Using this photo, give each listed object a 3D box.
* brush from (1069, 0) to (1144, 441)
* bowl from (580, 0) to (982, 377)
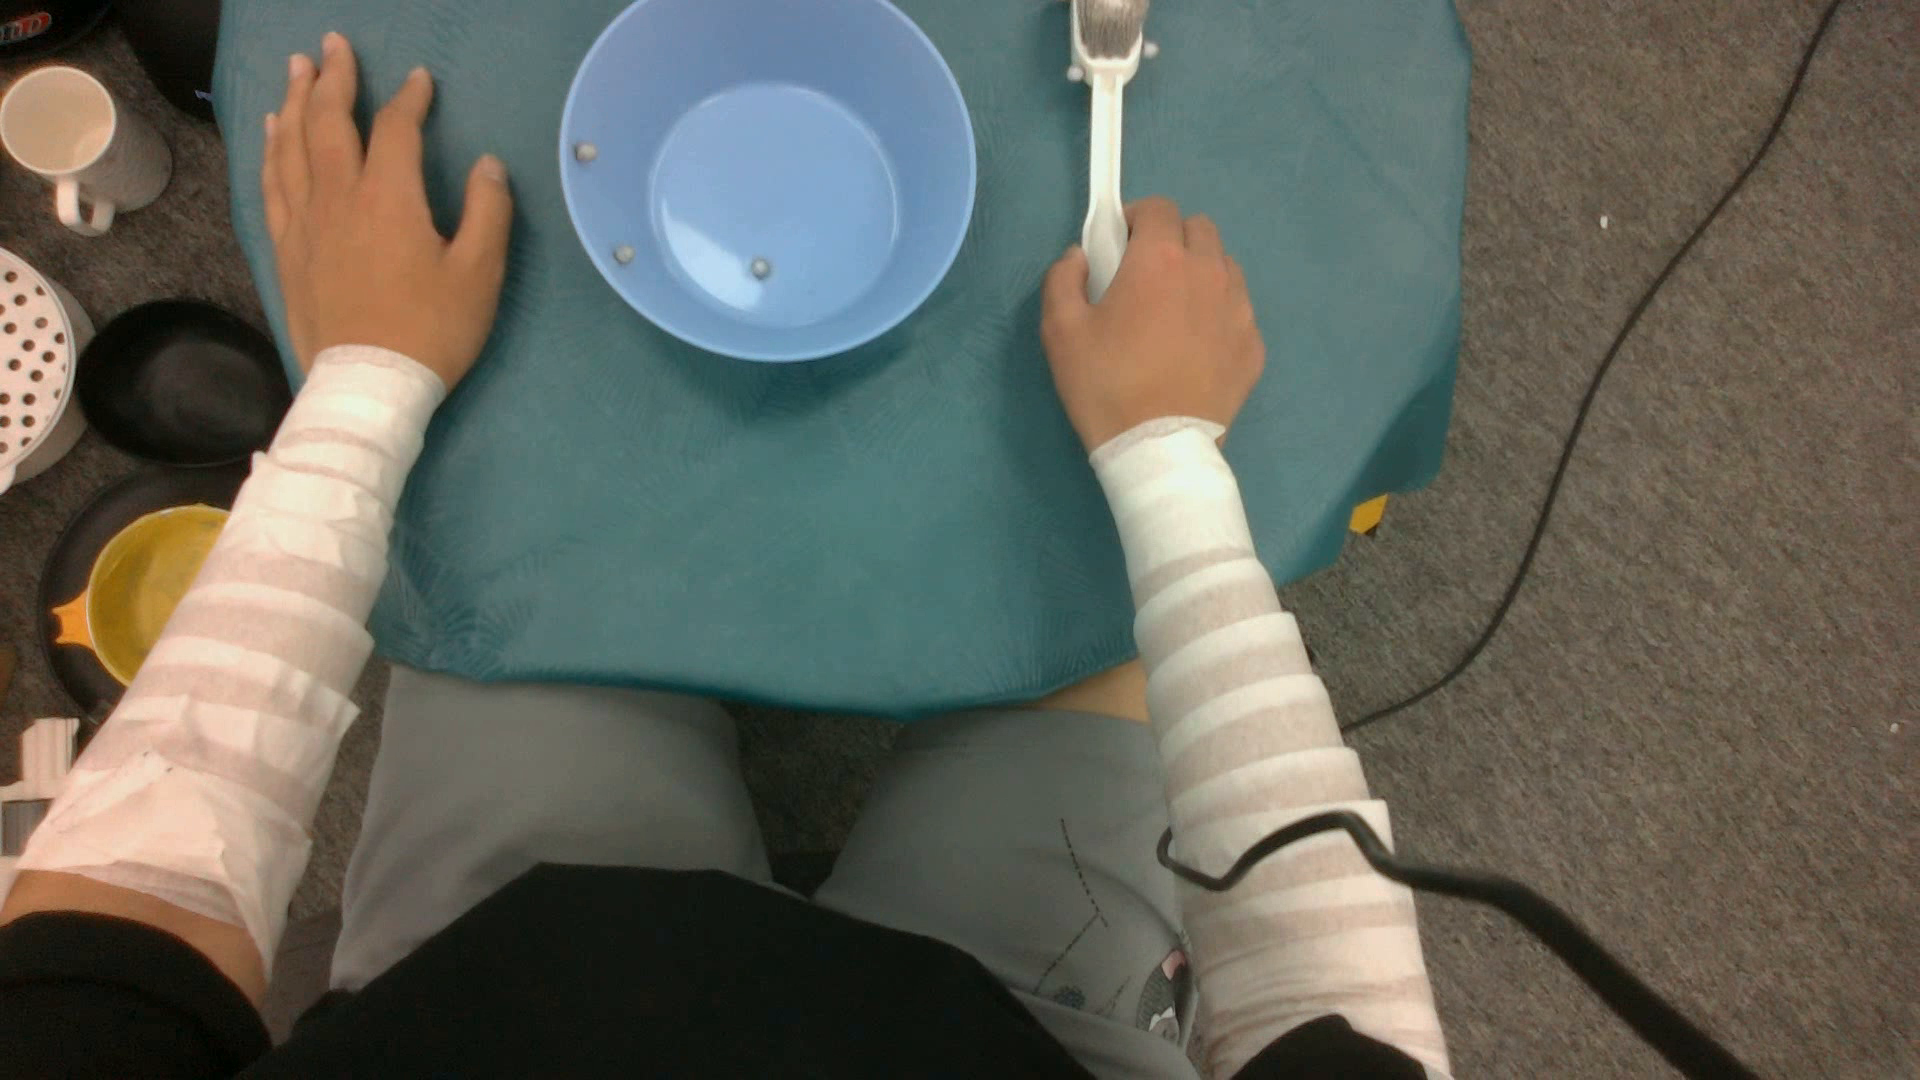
[{"bbox_3d":[0.069,-0.171,0.665,0.034,0.050,0.244,2,83,0],"label":"brush"},{"bbox_3d":[-0.080,-0.156,0.637,0.176,0.070,0.176,1,85,-6],"label":"bowl"}]
